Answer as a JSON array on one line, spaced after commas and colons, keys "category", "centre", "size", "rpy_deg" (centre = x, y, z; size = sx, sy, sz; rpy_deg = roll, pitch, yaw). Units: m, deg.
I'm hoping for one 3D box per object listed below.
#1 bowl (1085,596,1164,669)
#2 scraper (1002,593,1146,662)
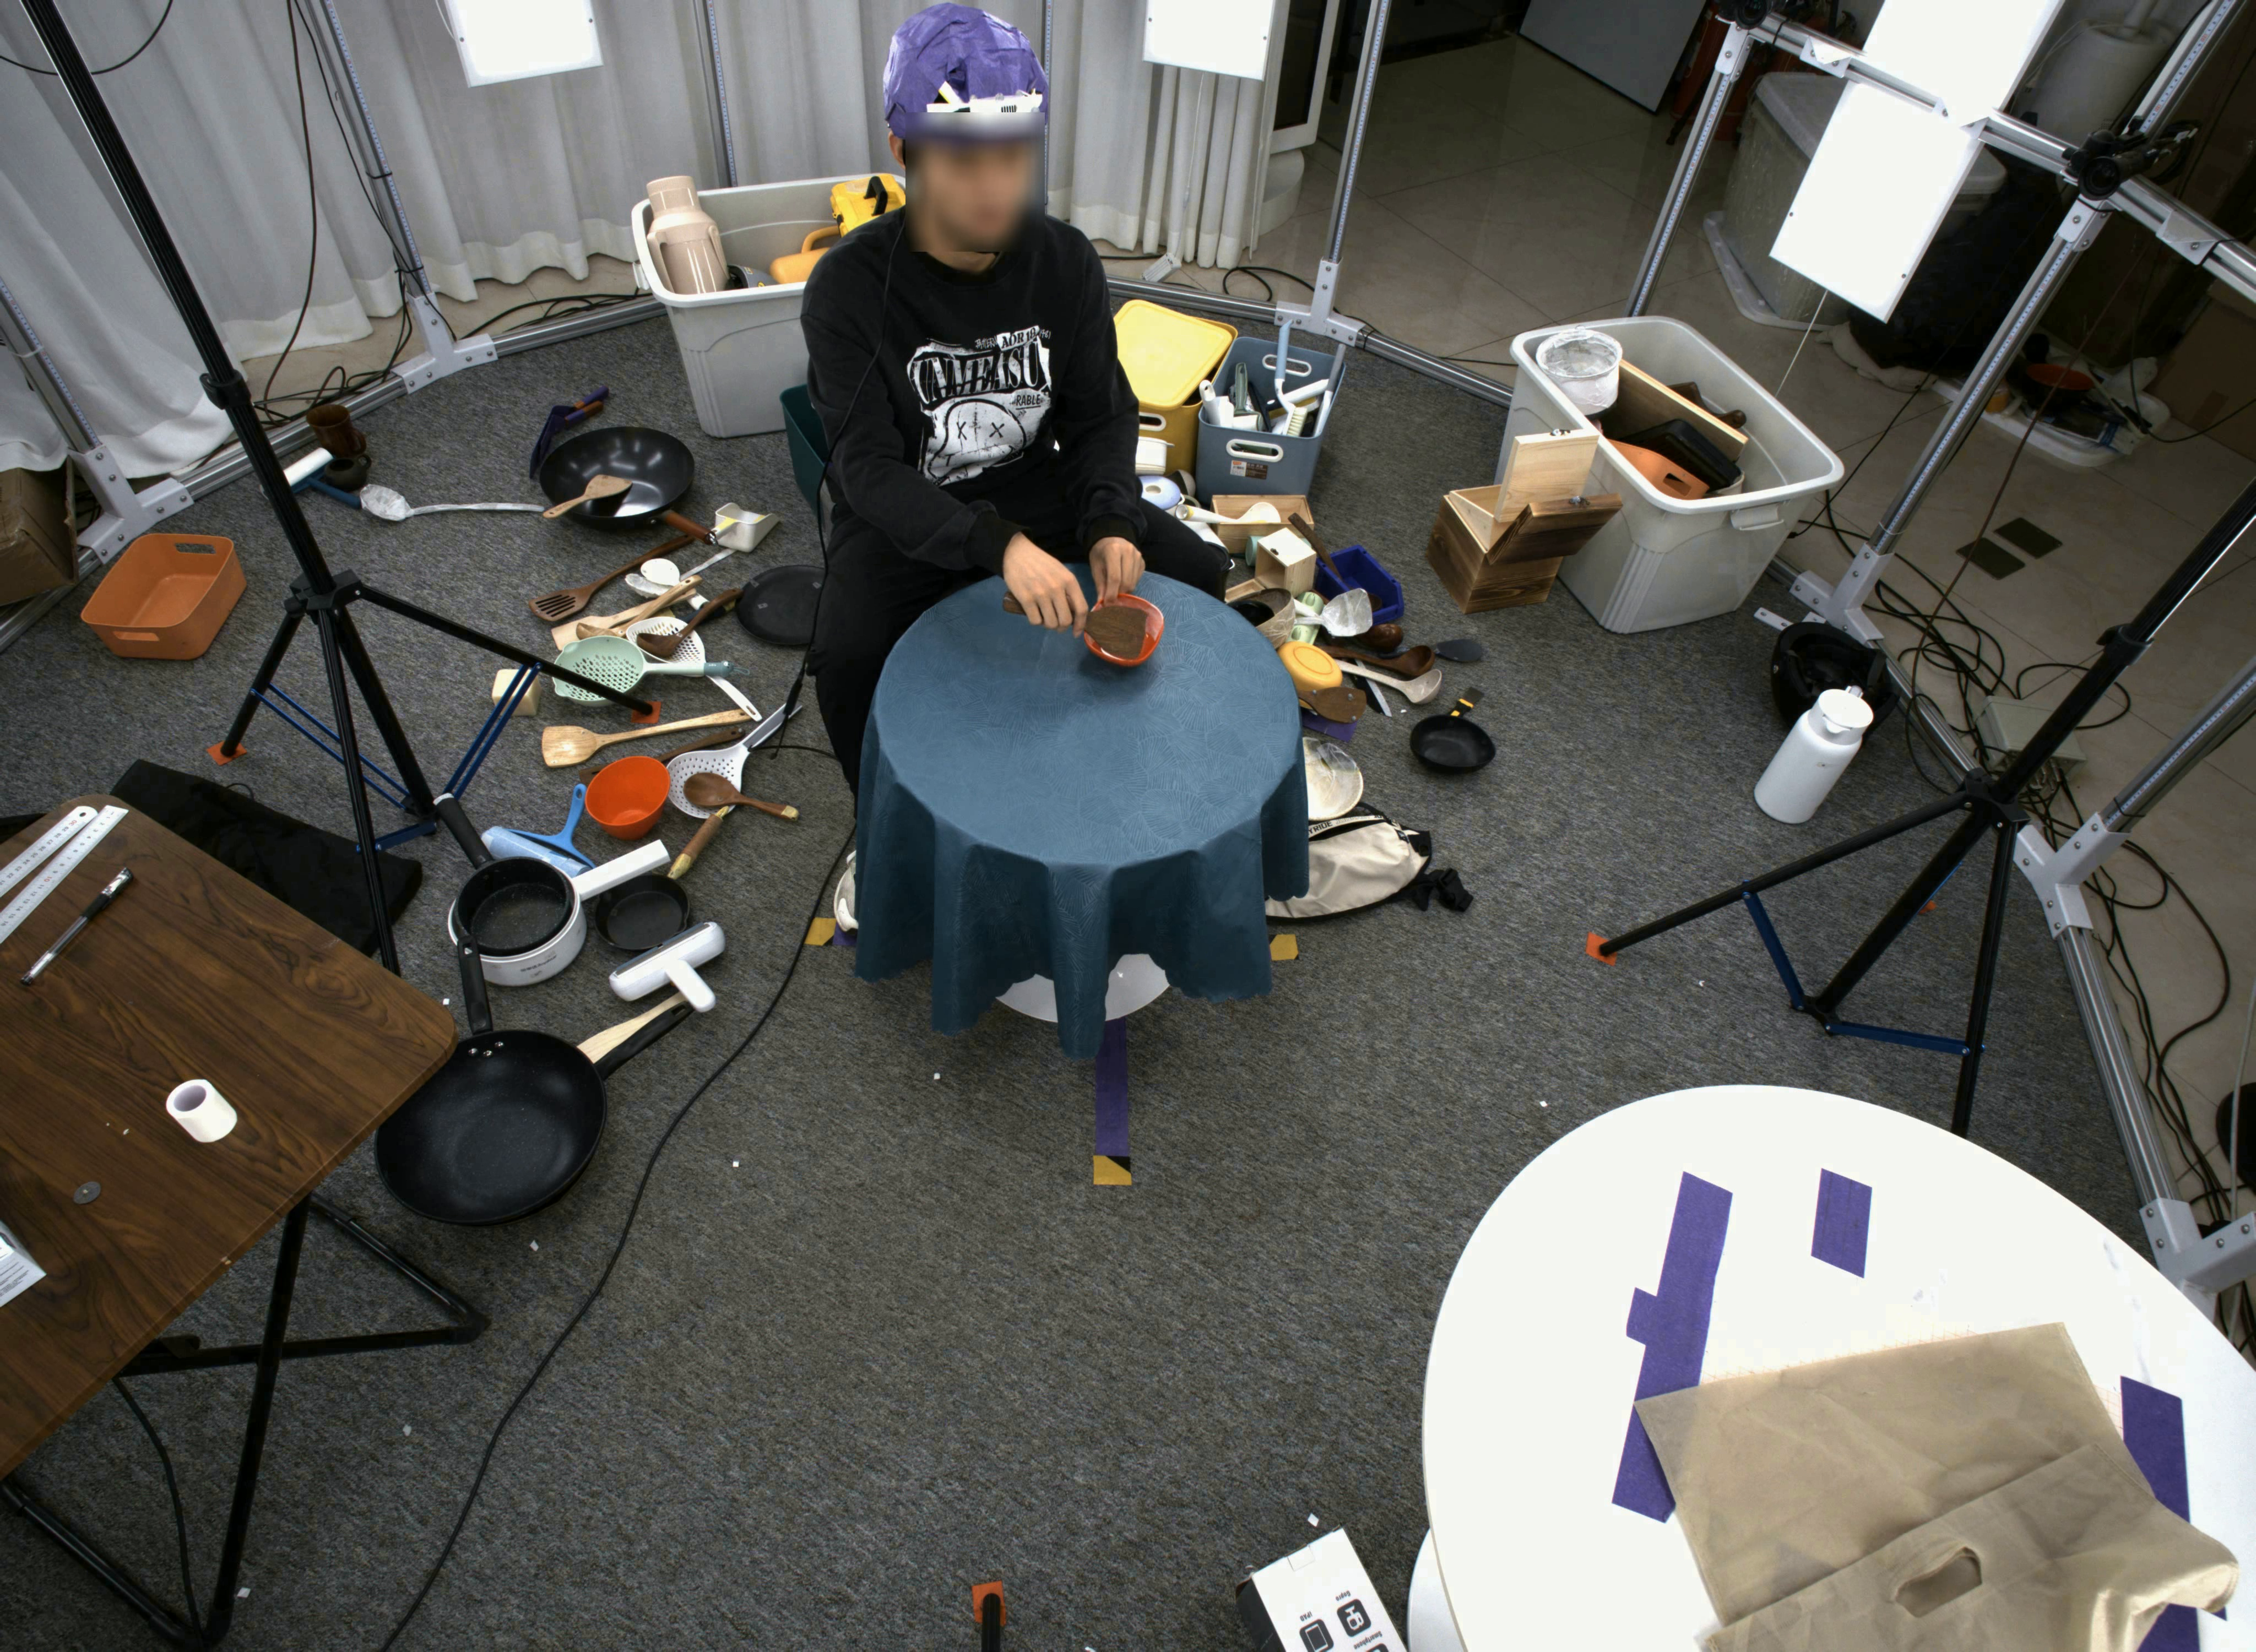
[{"category": "bowl", "centre": [-0.005, -0.275, 1.881], "size": [0.119, 0.050, 0.121], "rpy_deg": [0, 66, 1]}, {"category": "scraper", "centre": [-0.074, -0.288, 1.799], "size": [0.210, 0.011, 0.076], "rpy_deg": [12, 87, -20]}]
